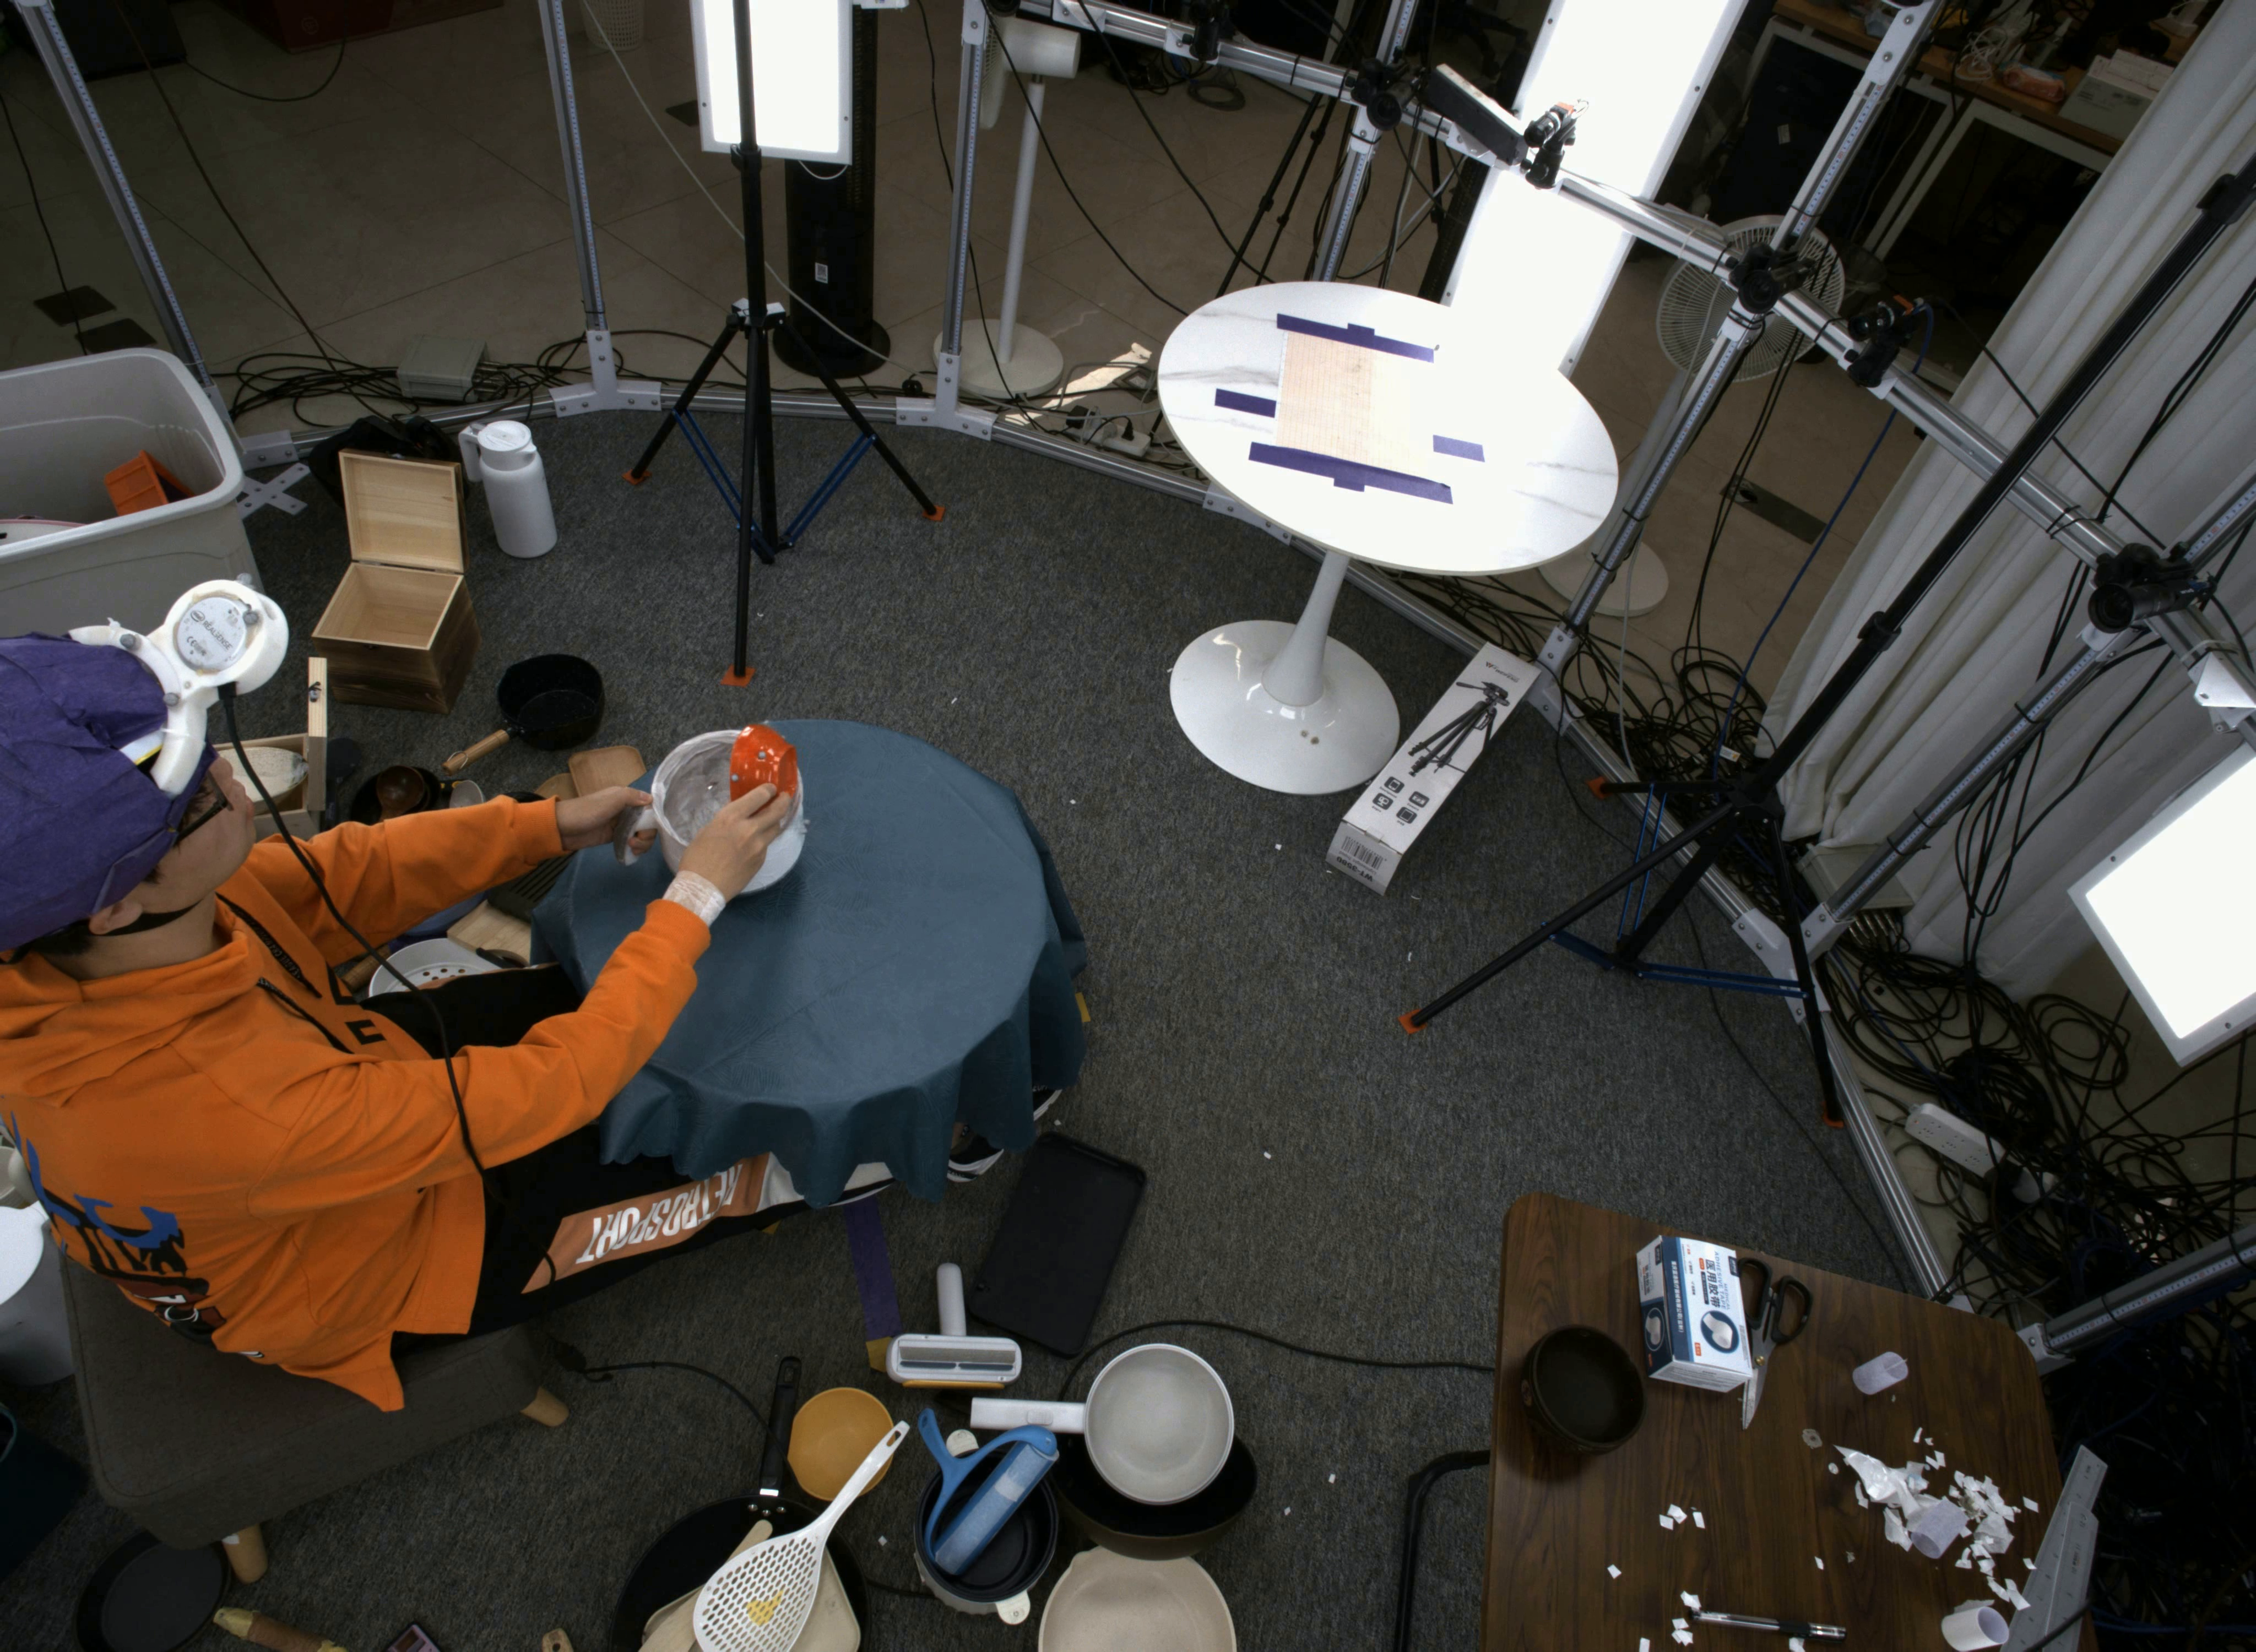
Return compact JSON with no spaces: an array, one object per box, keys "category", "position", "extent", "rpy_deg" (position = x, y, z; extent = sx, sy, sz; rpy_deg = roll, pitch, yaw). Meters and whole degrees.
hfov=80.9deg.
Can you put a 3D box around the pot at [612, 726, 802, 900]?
[{"category":"pot","position":[-0.515,-0.007,1.569],"extent":[0.234,0.139,0.175],"rpy_deg":[-12,63,-20]}]

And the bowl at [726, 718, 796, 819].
[{"category":"bowl","position":[-0.418,-0.065,1.486],"extent":[0.050,0.122,0.117],"rpy_deg":[6,51,3]}]
